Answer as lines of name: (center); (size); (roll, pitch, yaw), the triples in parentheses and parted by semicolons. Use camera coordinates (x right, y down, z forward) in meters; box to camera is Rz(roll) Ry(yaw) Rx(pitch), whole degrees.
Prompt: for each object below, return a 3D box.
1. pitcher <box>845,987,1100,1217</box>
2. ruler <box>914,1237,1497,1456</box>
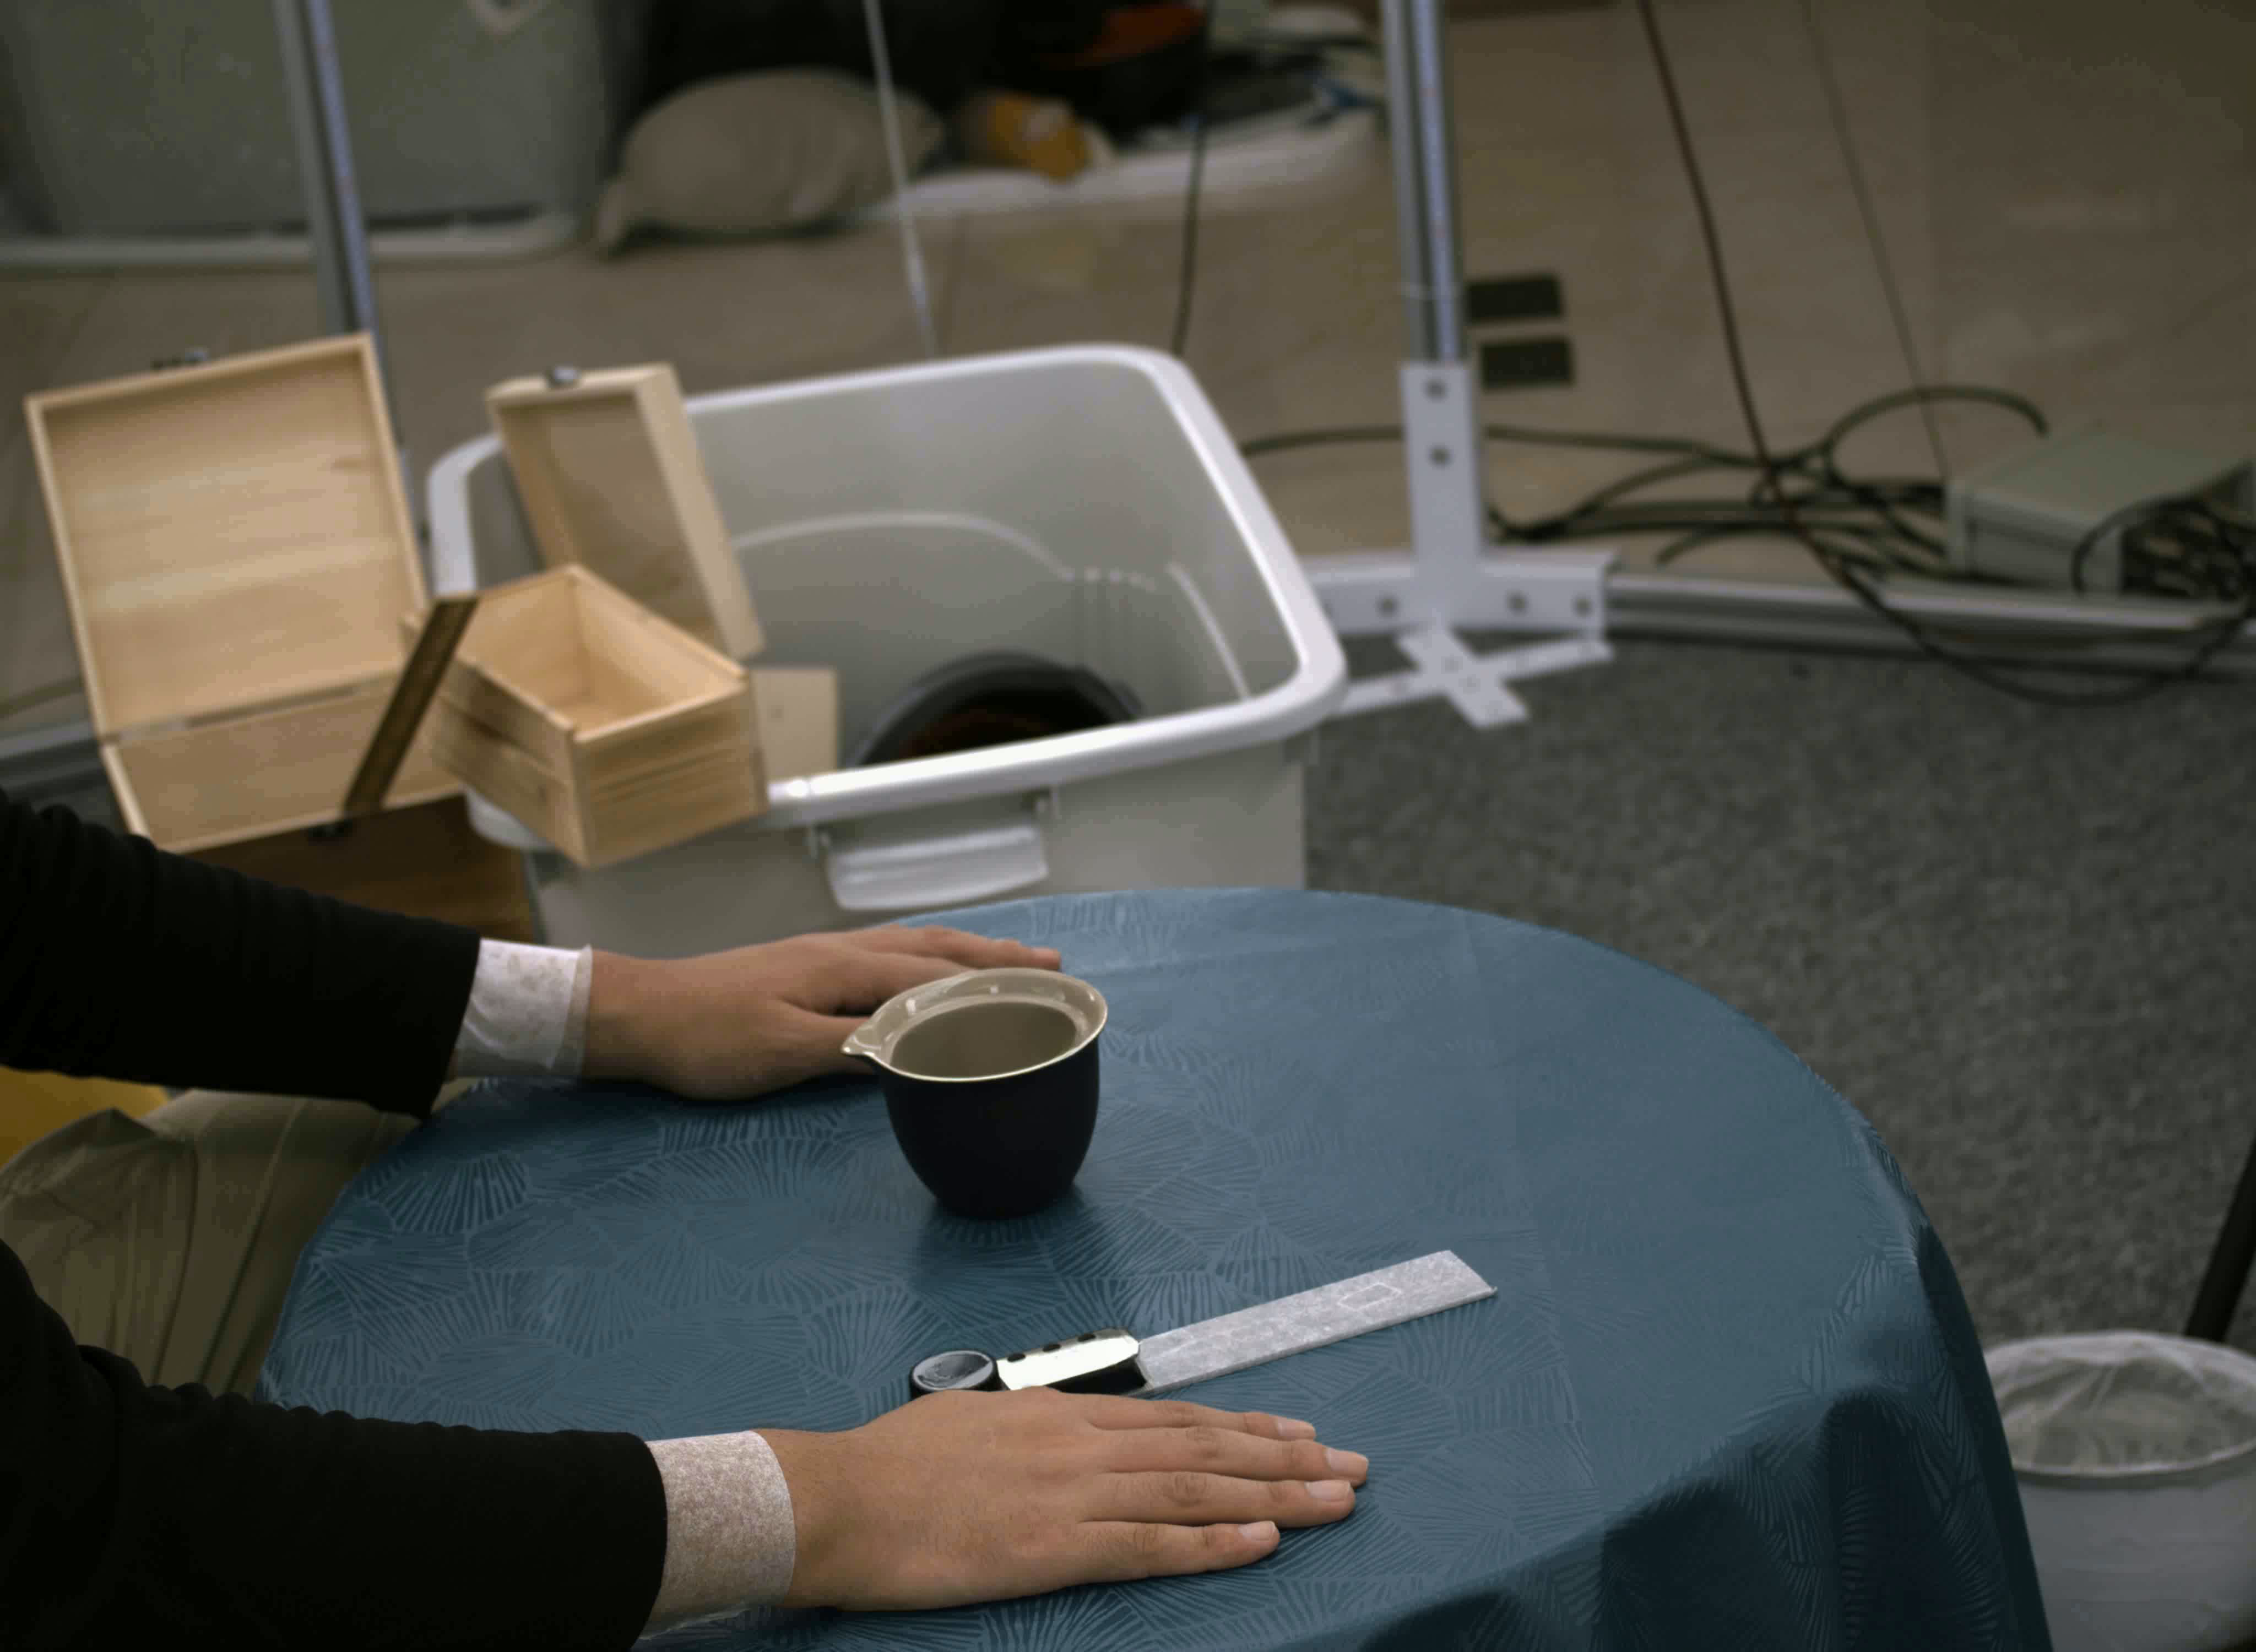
pitcher: (-0.056, 0.106, 2.145); (0.096, 0.072, 0.082); (-6, 26, -2)
ruler: (0.026, 0.180, 2.028); (0.217, 0.024, 0.038); (-15, 33, -16)
